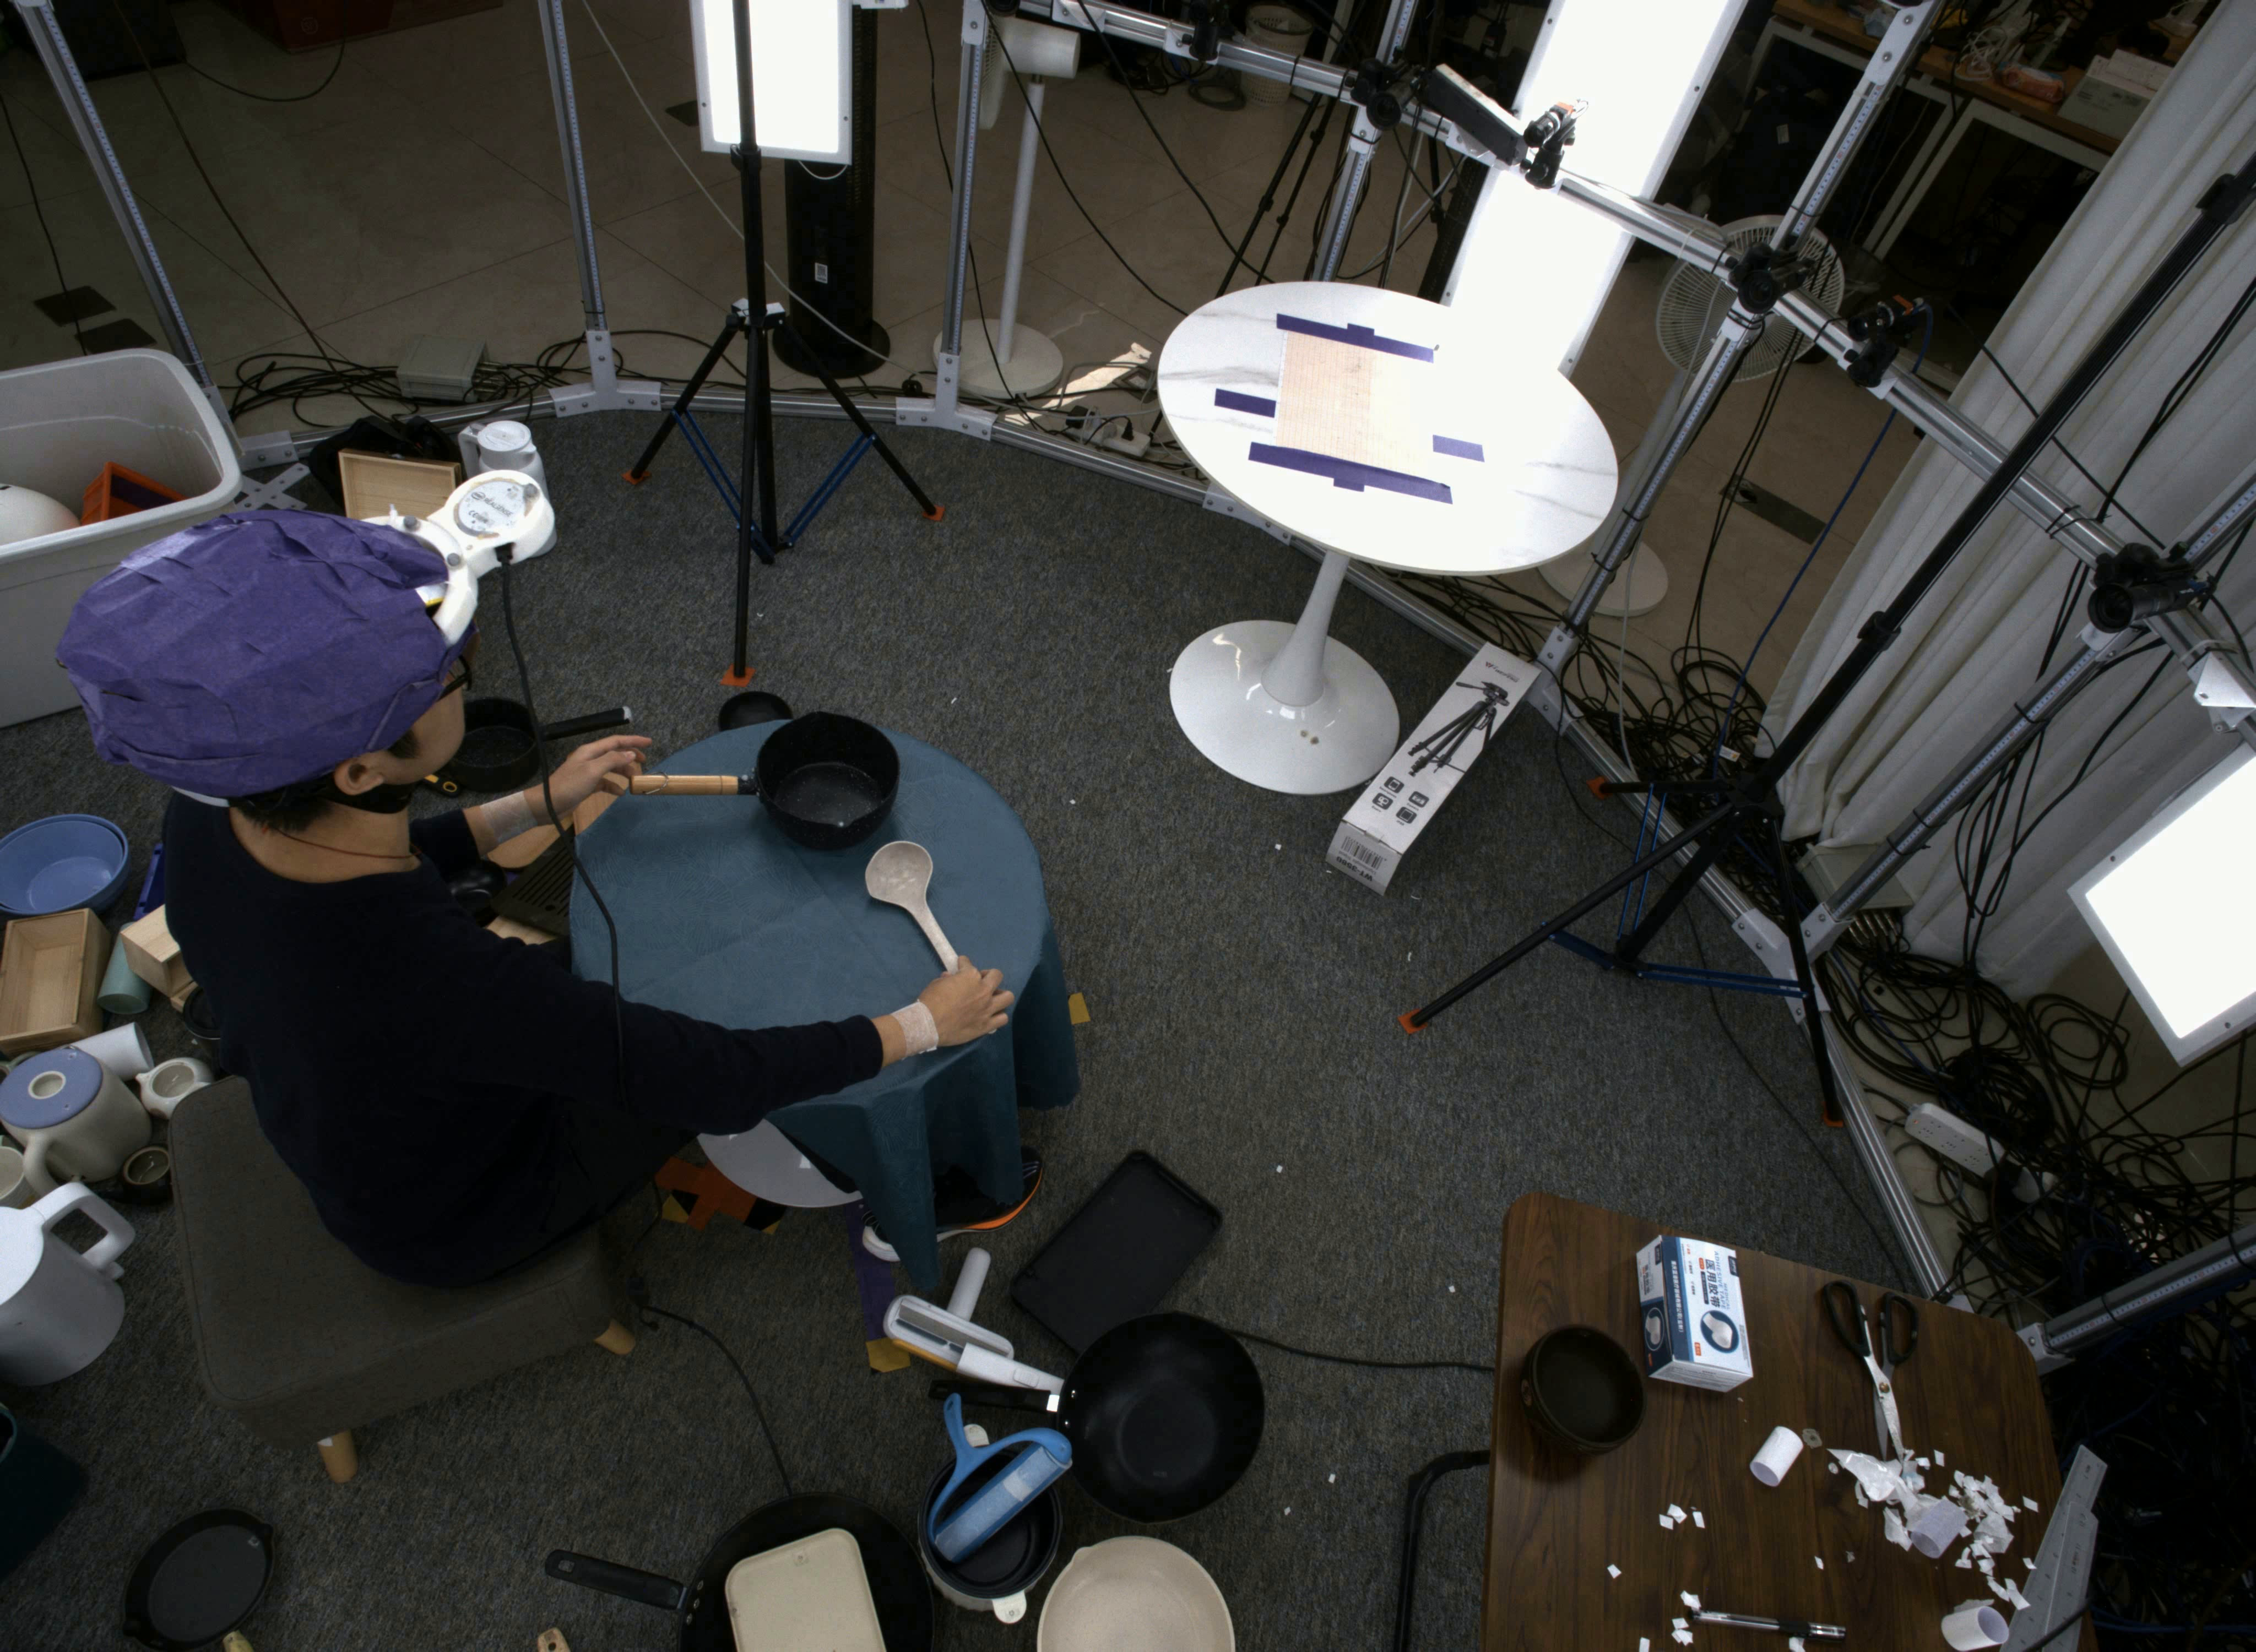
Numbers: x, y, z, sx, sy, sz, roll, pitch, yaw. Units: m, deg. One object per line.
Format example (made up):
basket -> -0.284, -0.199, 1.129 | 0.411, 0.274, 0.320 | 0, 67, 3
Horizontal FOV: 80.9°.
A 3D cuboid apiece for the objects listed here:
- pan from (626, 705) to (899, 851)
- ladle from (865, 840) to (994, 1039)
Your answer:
pan -> -0.468, -0.048, 1.668 | 0.345, 0.110, 0.202 | -9, 57, -23
ladle -> -0.237, 0.138, 1.619 | 0.089, 0.071, 0.268 | -25, 64, -23
